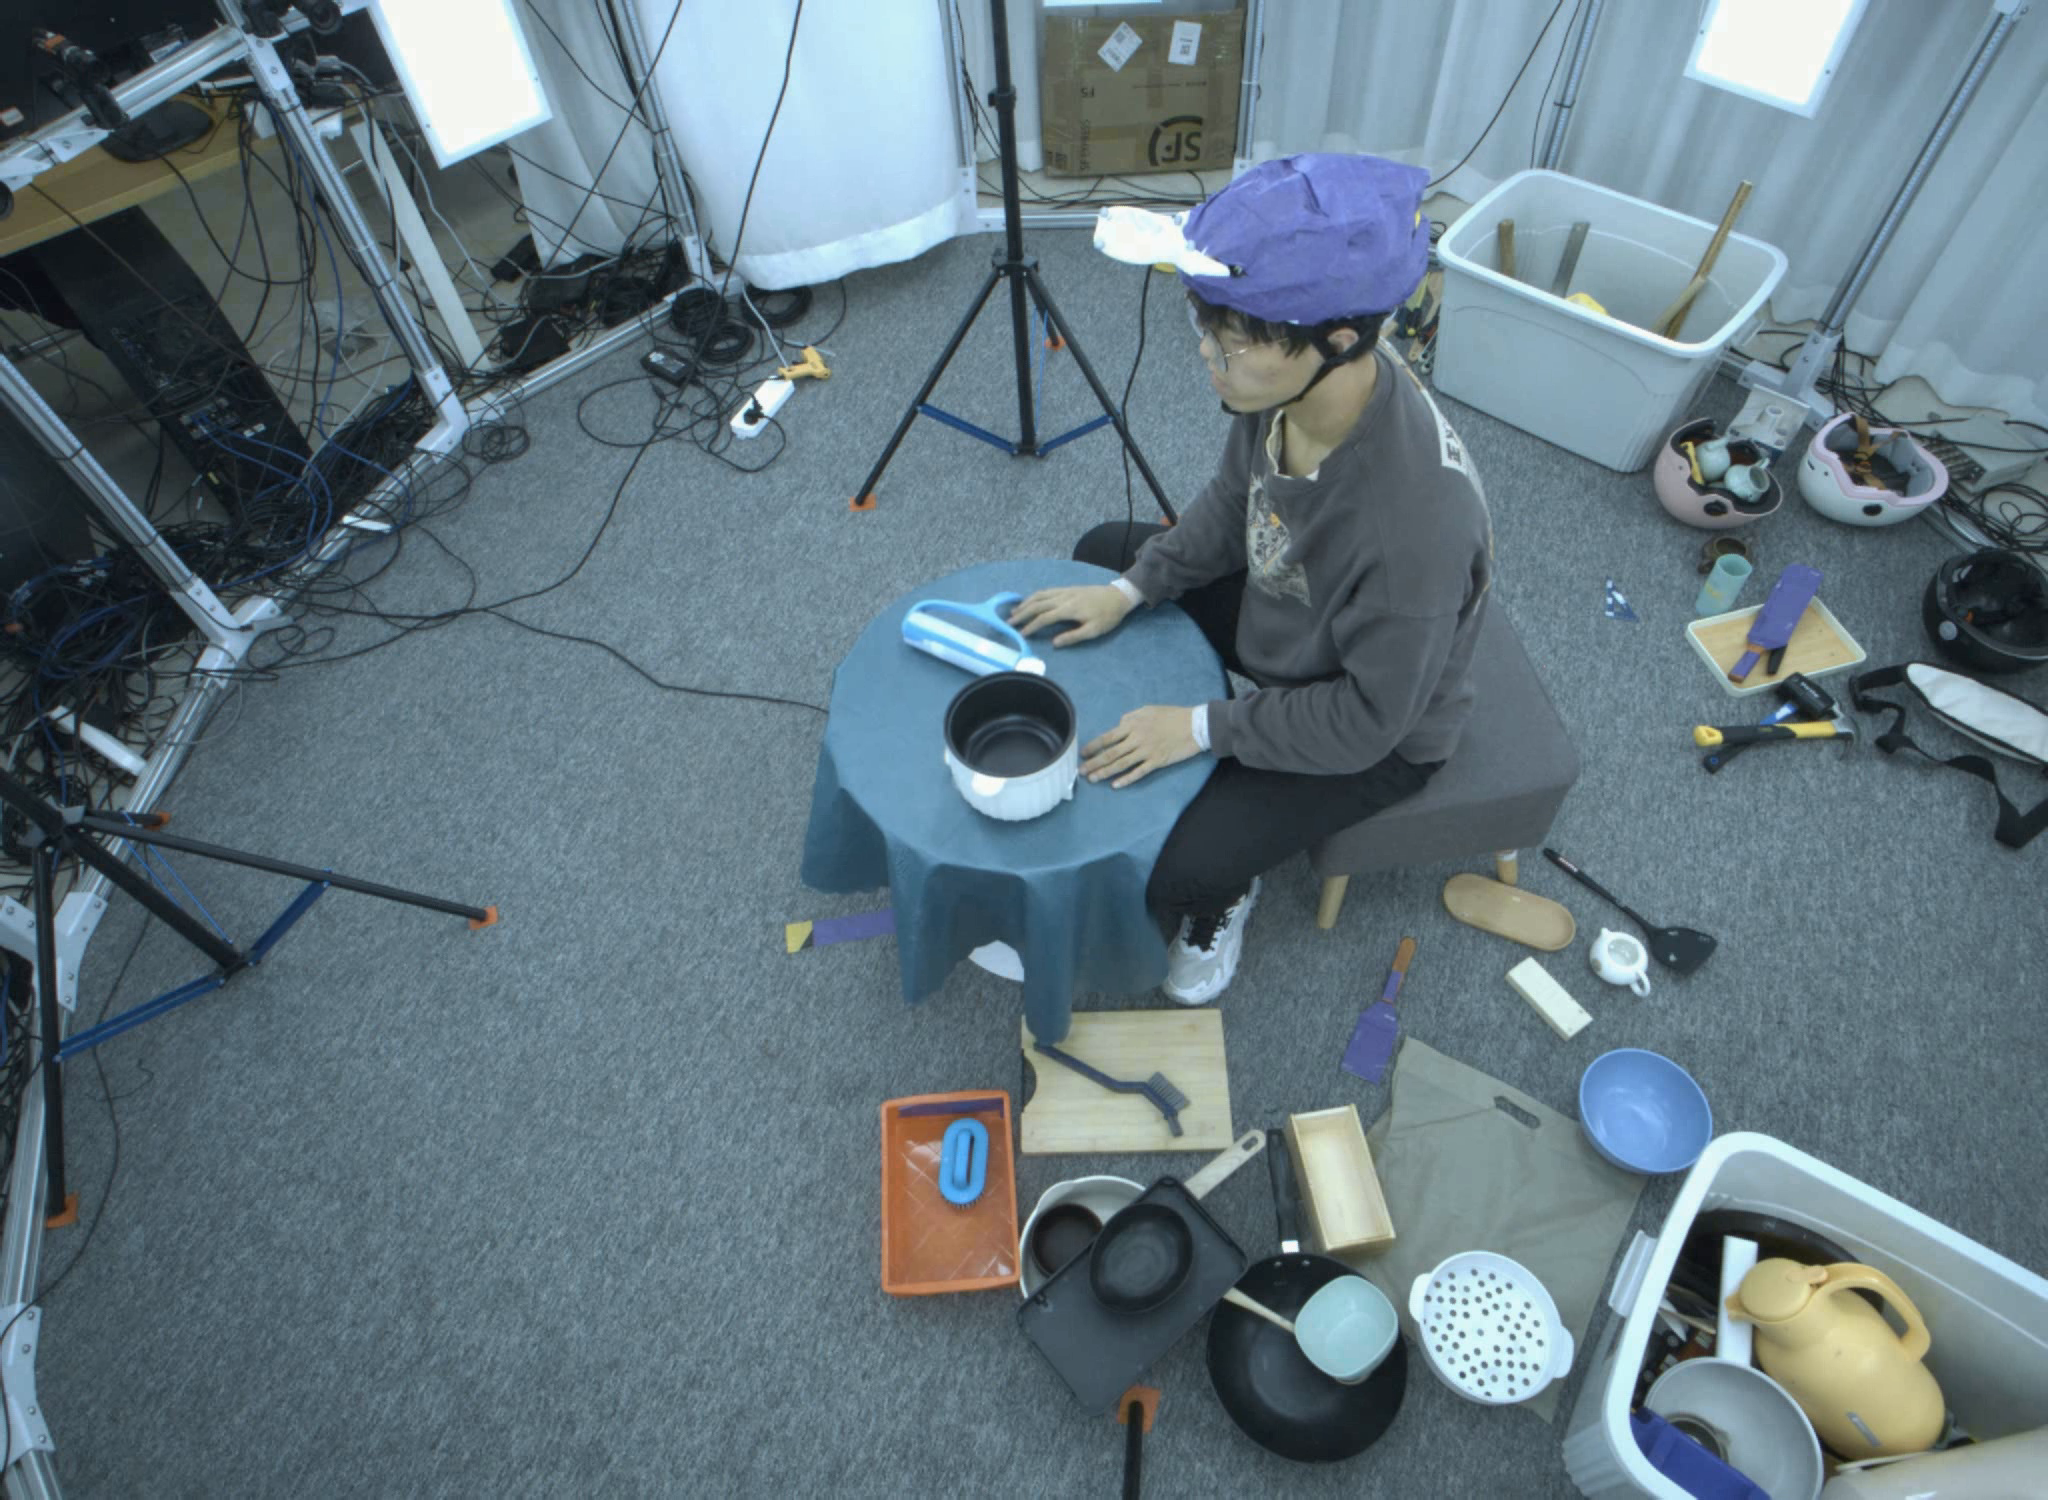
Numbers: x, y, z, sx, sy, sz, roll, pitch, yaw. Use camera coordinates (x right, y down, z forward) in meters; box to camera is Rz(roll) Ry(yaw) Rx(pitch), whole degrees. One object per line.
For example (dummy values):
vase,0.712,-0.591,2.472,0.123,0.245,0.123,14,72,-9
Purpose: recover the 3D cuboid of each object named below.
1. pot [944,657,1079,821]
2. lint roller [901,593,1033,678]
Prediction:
pot,-0.020,0.002,1.698,0.189,0.144,0.239,13,54,8
lint roller,-0.061,-0.196,1.892,0.226,0.069,0.180,22,59,18
